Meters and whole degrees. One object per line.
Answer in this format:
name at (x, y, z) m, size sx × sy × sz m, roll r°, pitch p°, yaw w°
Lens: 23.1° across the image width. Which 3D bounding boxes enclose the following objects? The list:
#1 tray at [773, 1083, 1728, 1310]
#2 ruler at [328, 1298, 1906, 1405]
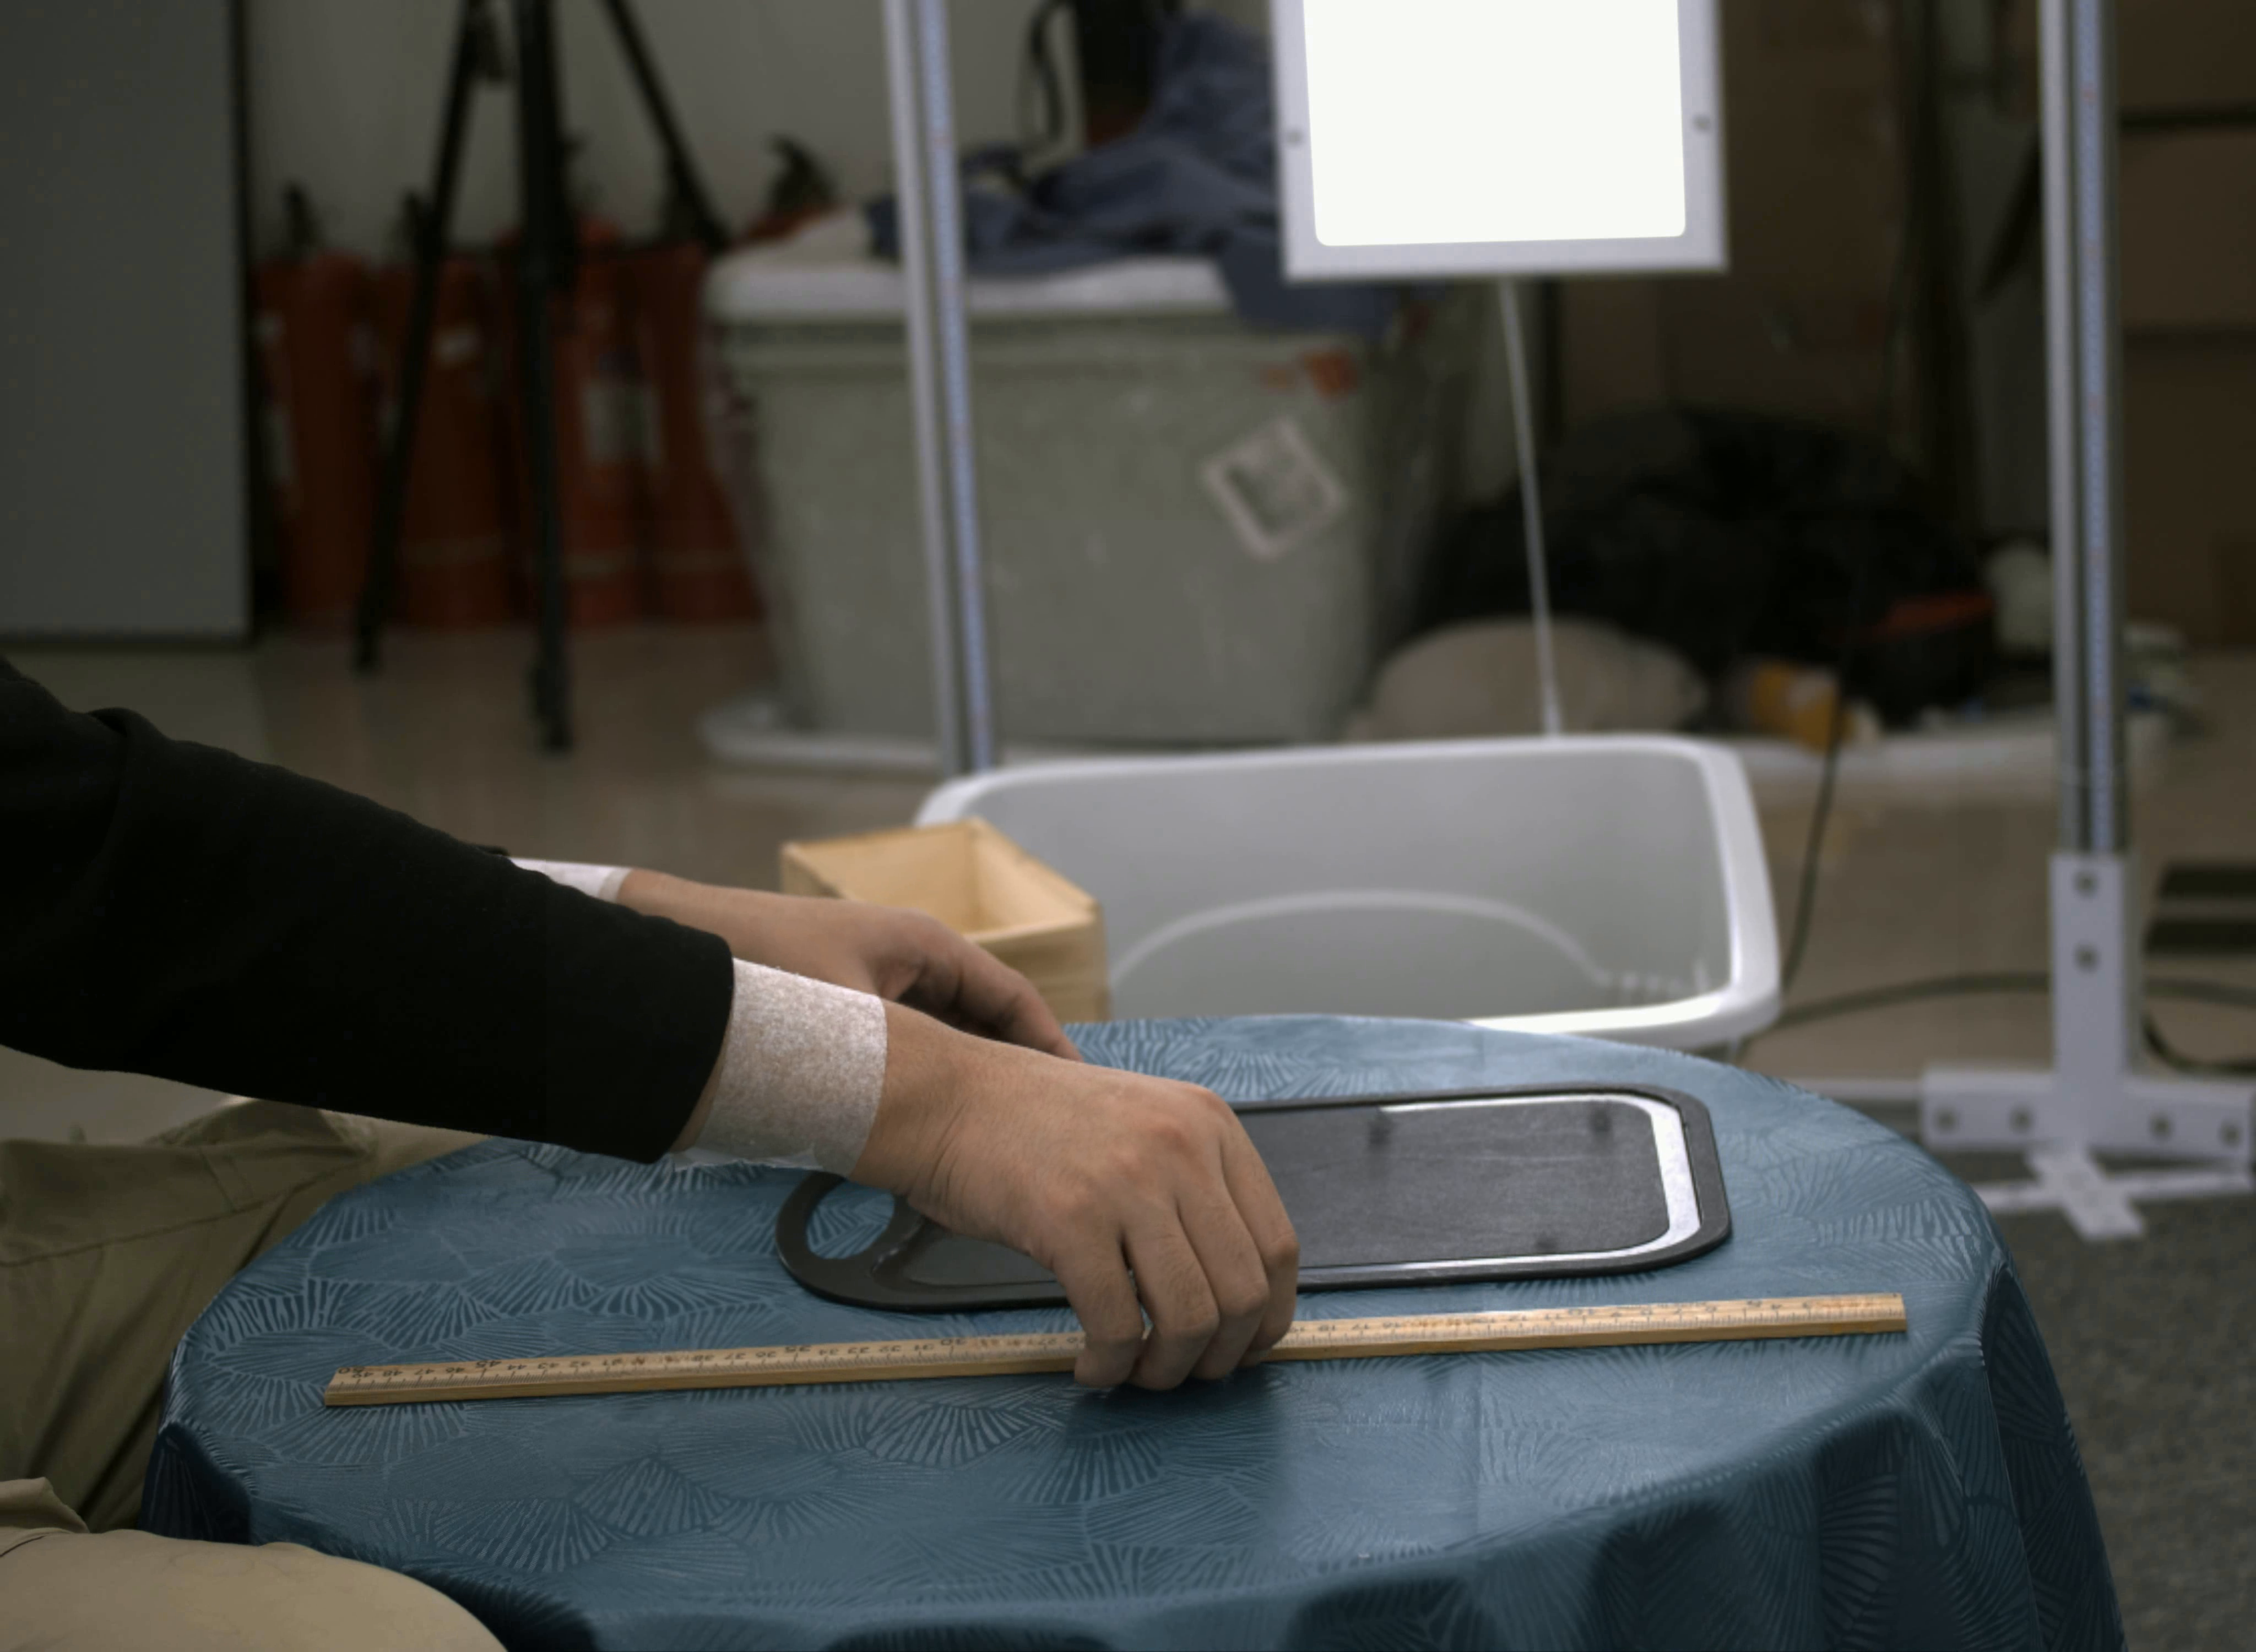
tray at (0.040, 0.124, 1.879) m, size 0.326 × 0.010 × 0.210 m, roll -4°, pitch 14°, yaw 6°
ruler at (-0.006, 0.165, 1.734) m, size 0.502 × 0.006 × 0.026 m, roll -3°, pitch 12°, yaw 8°
